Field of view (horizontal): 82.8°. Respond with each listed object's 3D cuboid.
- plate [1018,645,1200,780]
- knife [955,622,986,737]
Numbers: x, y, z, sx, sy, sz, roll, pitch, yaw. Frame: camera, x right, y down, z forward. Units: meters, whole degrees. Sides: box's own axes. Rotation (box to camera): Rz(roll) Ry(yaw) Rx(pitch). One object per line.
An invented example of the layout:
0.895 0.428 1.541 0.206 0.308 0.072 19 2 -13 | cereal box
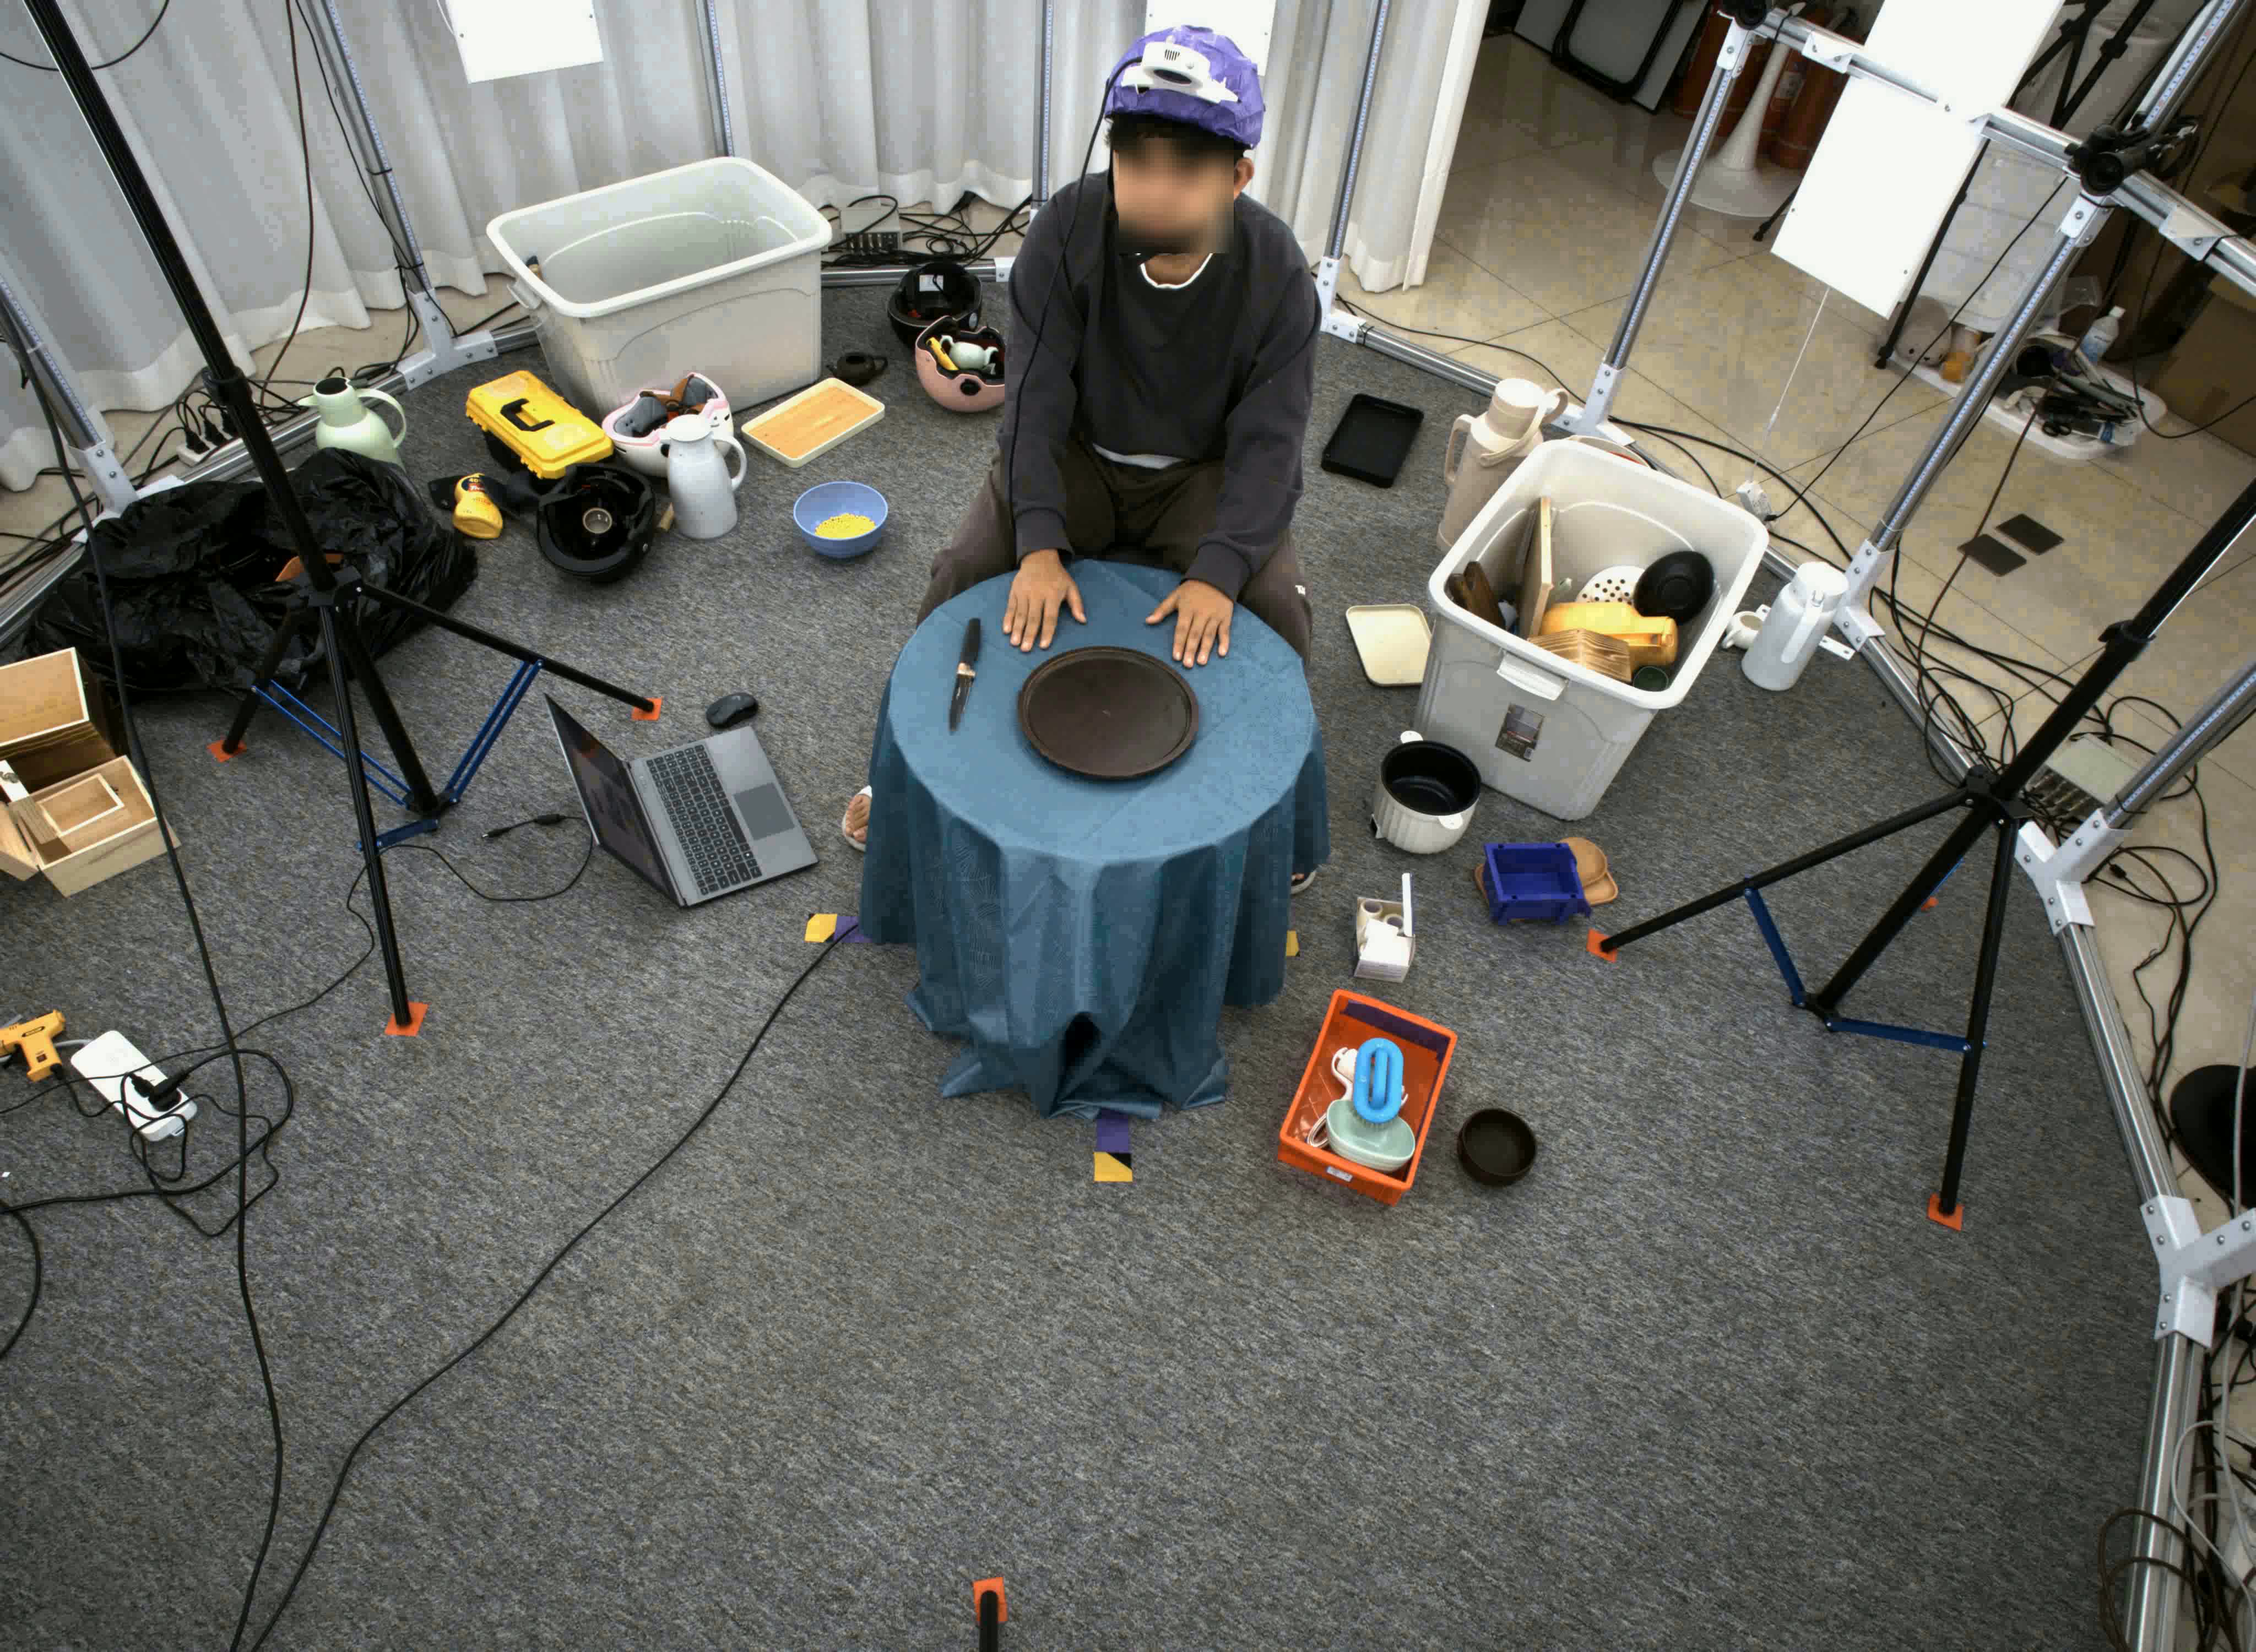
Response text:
-0.027 -0.159 1.787 0.254 0.028 0.261 1 48 -2 | plate
-0.226 -0.211 1.824 0.026 0.017 0.231 9 50 -3 | knife
